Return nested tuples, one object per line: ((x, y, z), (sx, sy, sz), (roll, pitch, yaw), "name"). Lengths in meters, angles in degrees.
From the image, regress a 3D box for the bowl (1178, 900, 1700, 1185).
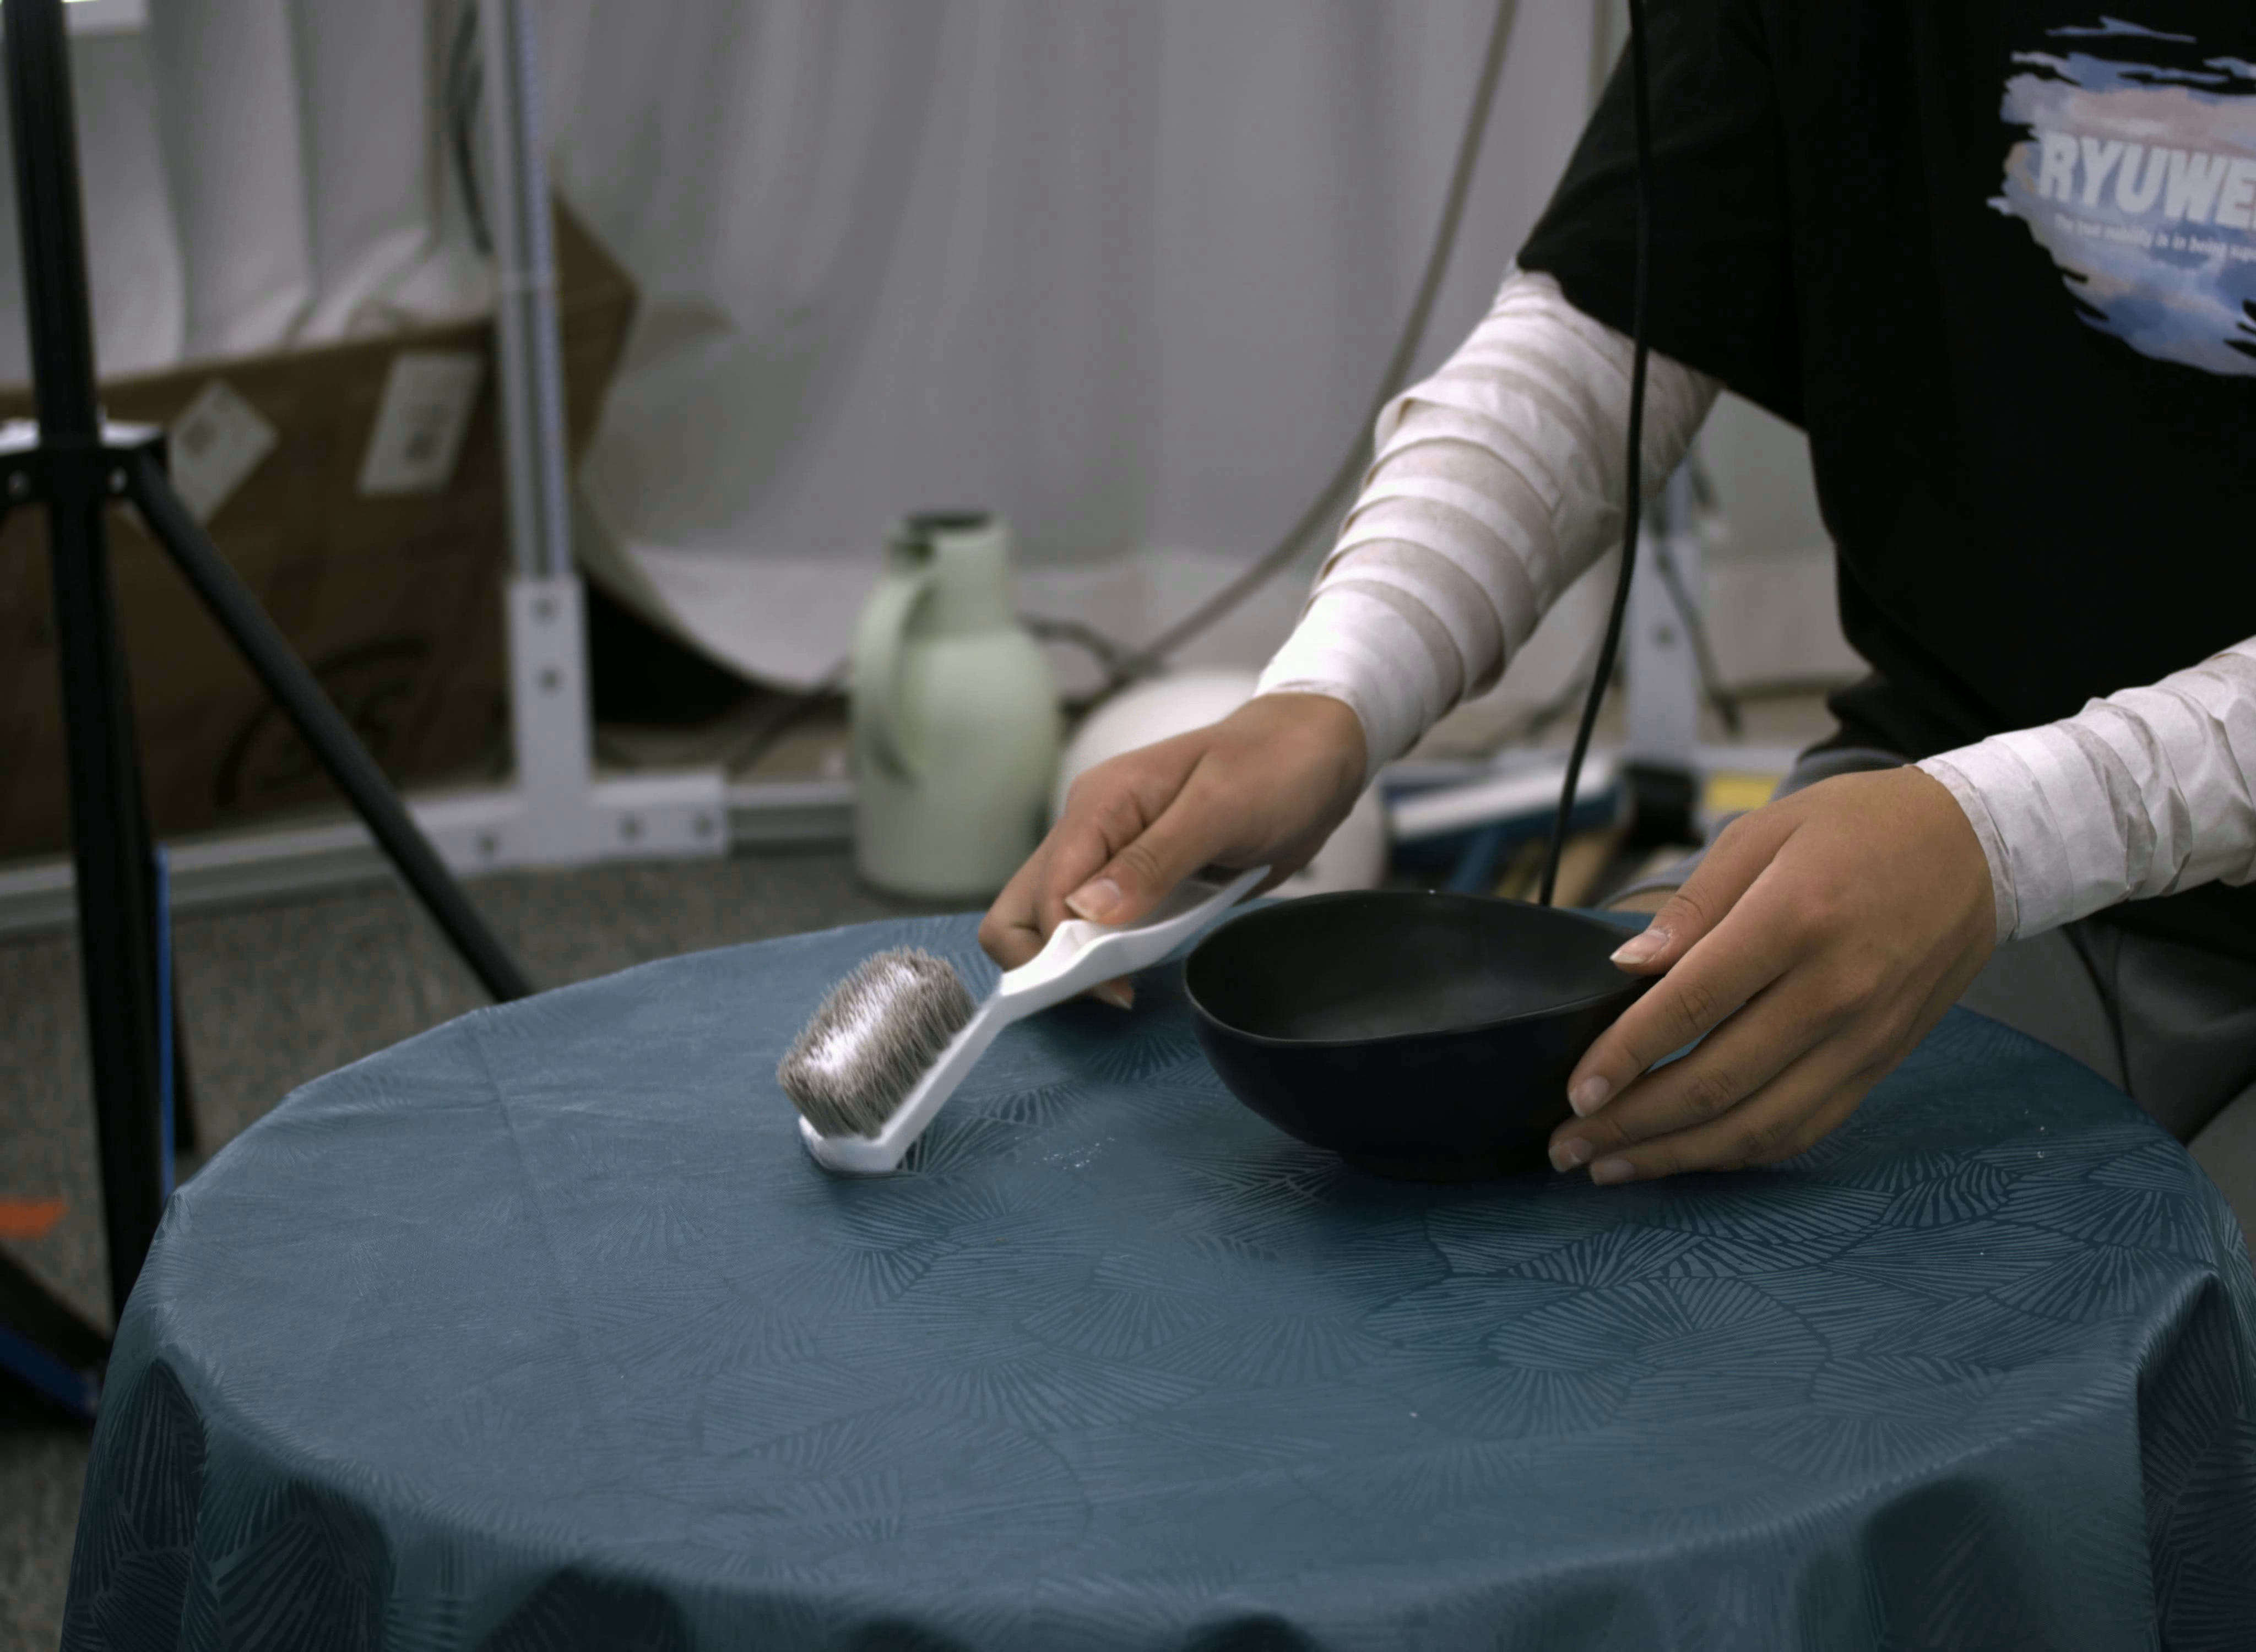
((0.093, 0.067, 1.576), (0.166, 0.067, 0.140), (-13, 19, -40), "bowl")

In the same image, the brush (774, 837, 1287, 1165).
((-0.025, 0.036, 1.654), (0.035, 0.050, 0.239), (13, 31, 35), "brush")
